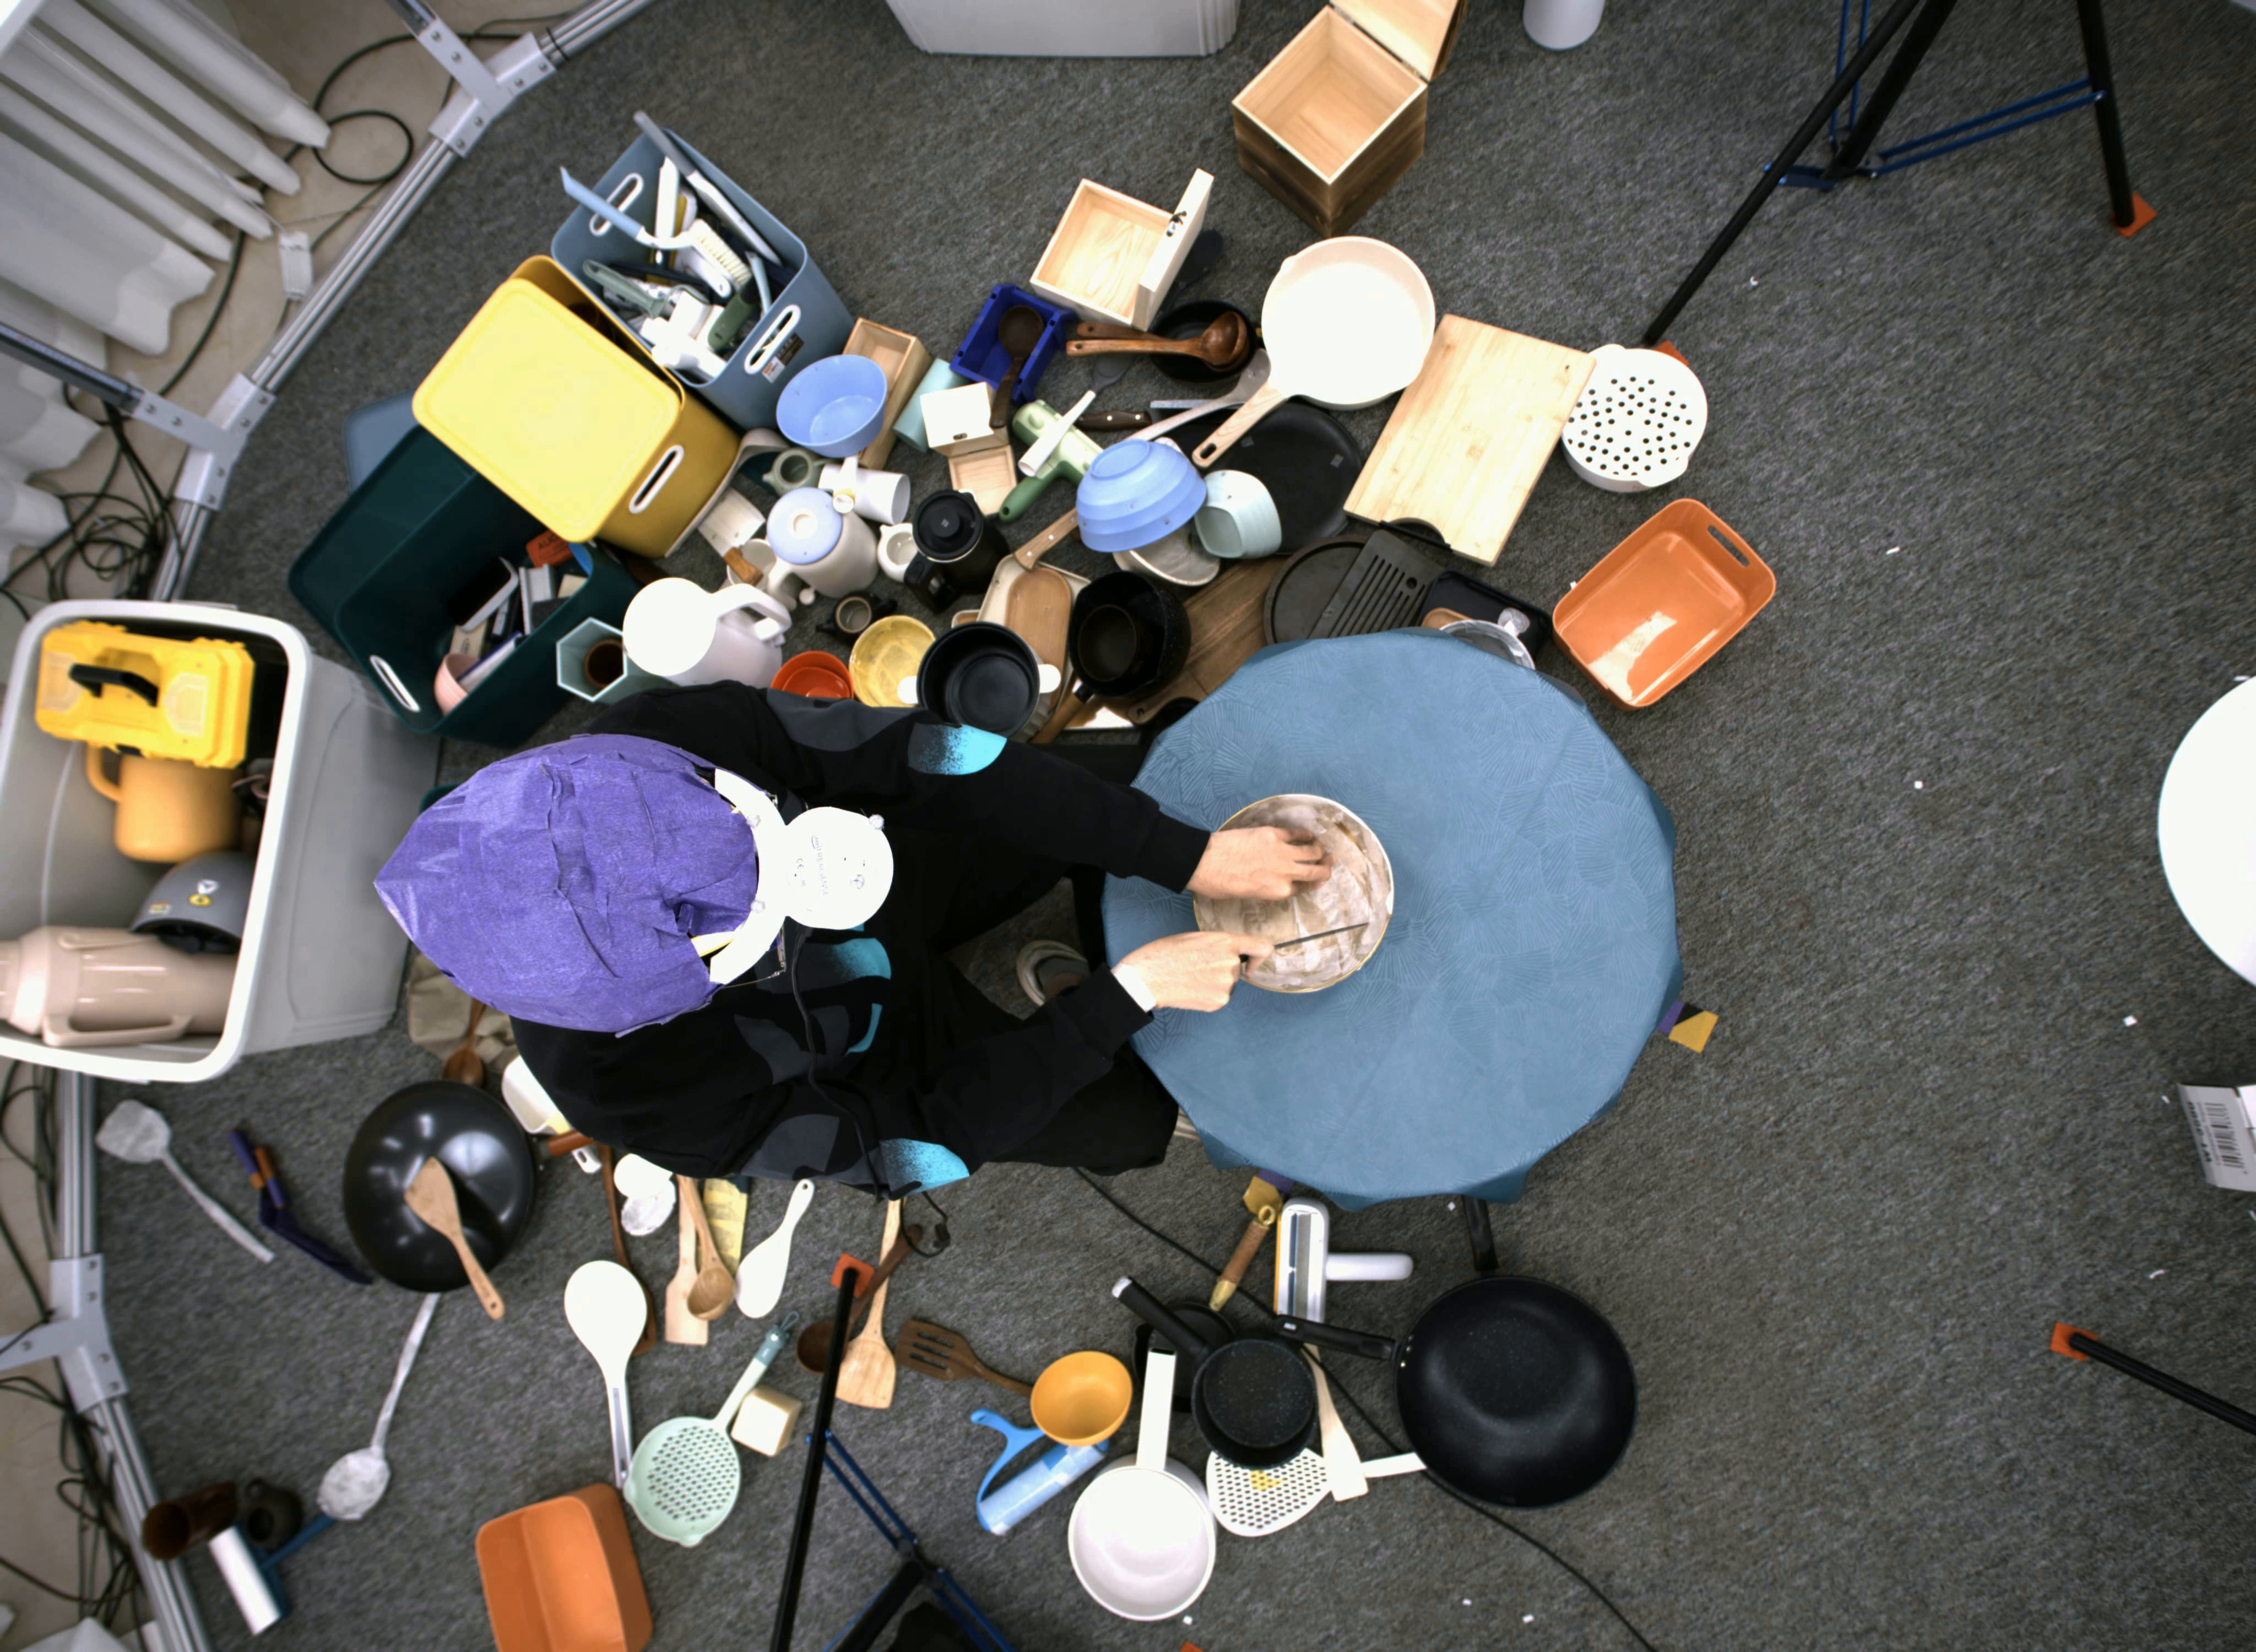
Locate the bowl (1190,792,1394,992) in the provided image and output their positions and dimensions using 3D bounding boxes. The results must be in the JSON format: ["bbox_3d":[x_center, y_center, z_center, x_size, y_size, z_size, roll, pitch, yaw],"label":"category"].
[{"bbox_3d":[0.167,0.070,1.430,0.215,0.094,0.214,-1,87,9],"label":"bowl"}]

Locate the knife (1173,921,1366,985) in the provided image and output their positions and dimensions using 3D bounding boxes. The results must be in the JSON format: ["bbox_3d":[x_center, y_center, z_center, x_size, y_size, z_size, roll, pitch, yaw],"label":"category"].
[{"bbox_3d":[0.146,0.124,1.399,0.224,0.026,0.017,-14,78,-18],"label":"knife"}]
